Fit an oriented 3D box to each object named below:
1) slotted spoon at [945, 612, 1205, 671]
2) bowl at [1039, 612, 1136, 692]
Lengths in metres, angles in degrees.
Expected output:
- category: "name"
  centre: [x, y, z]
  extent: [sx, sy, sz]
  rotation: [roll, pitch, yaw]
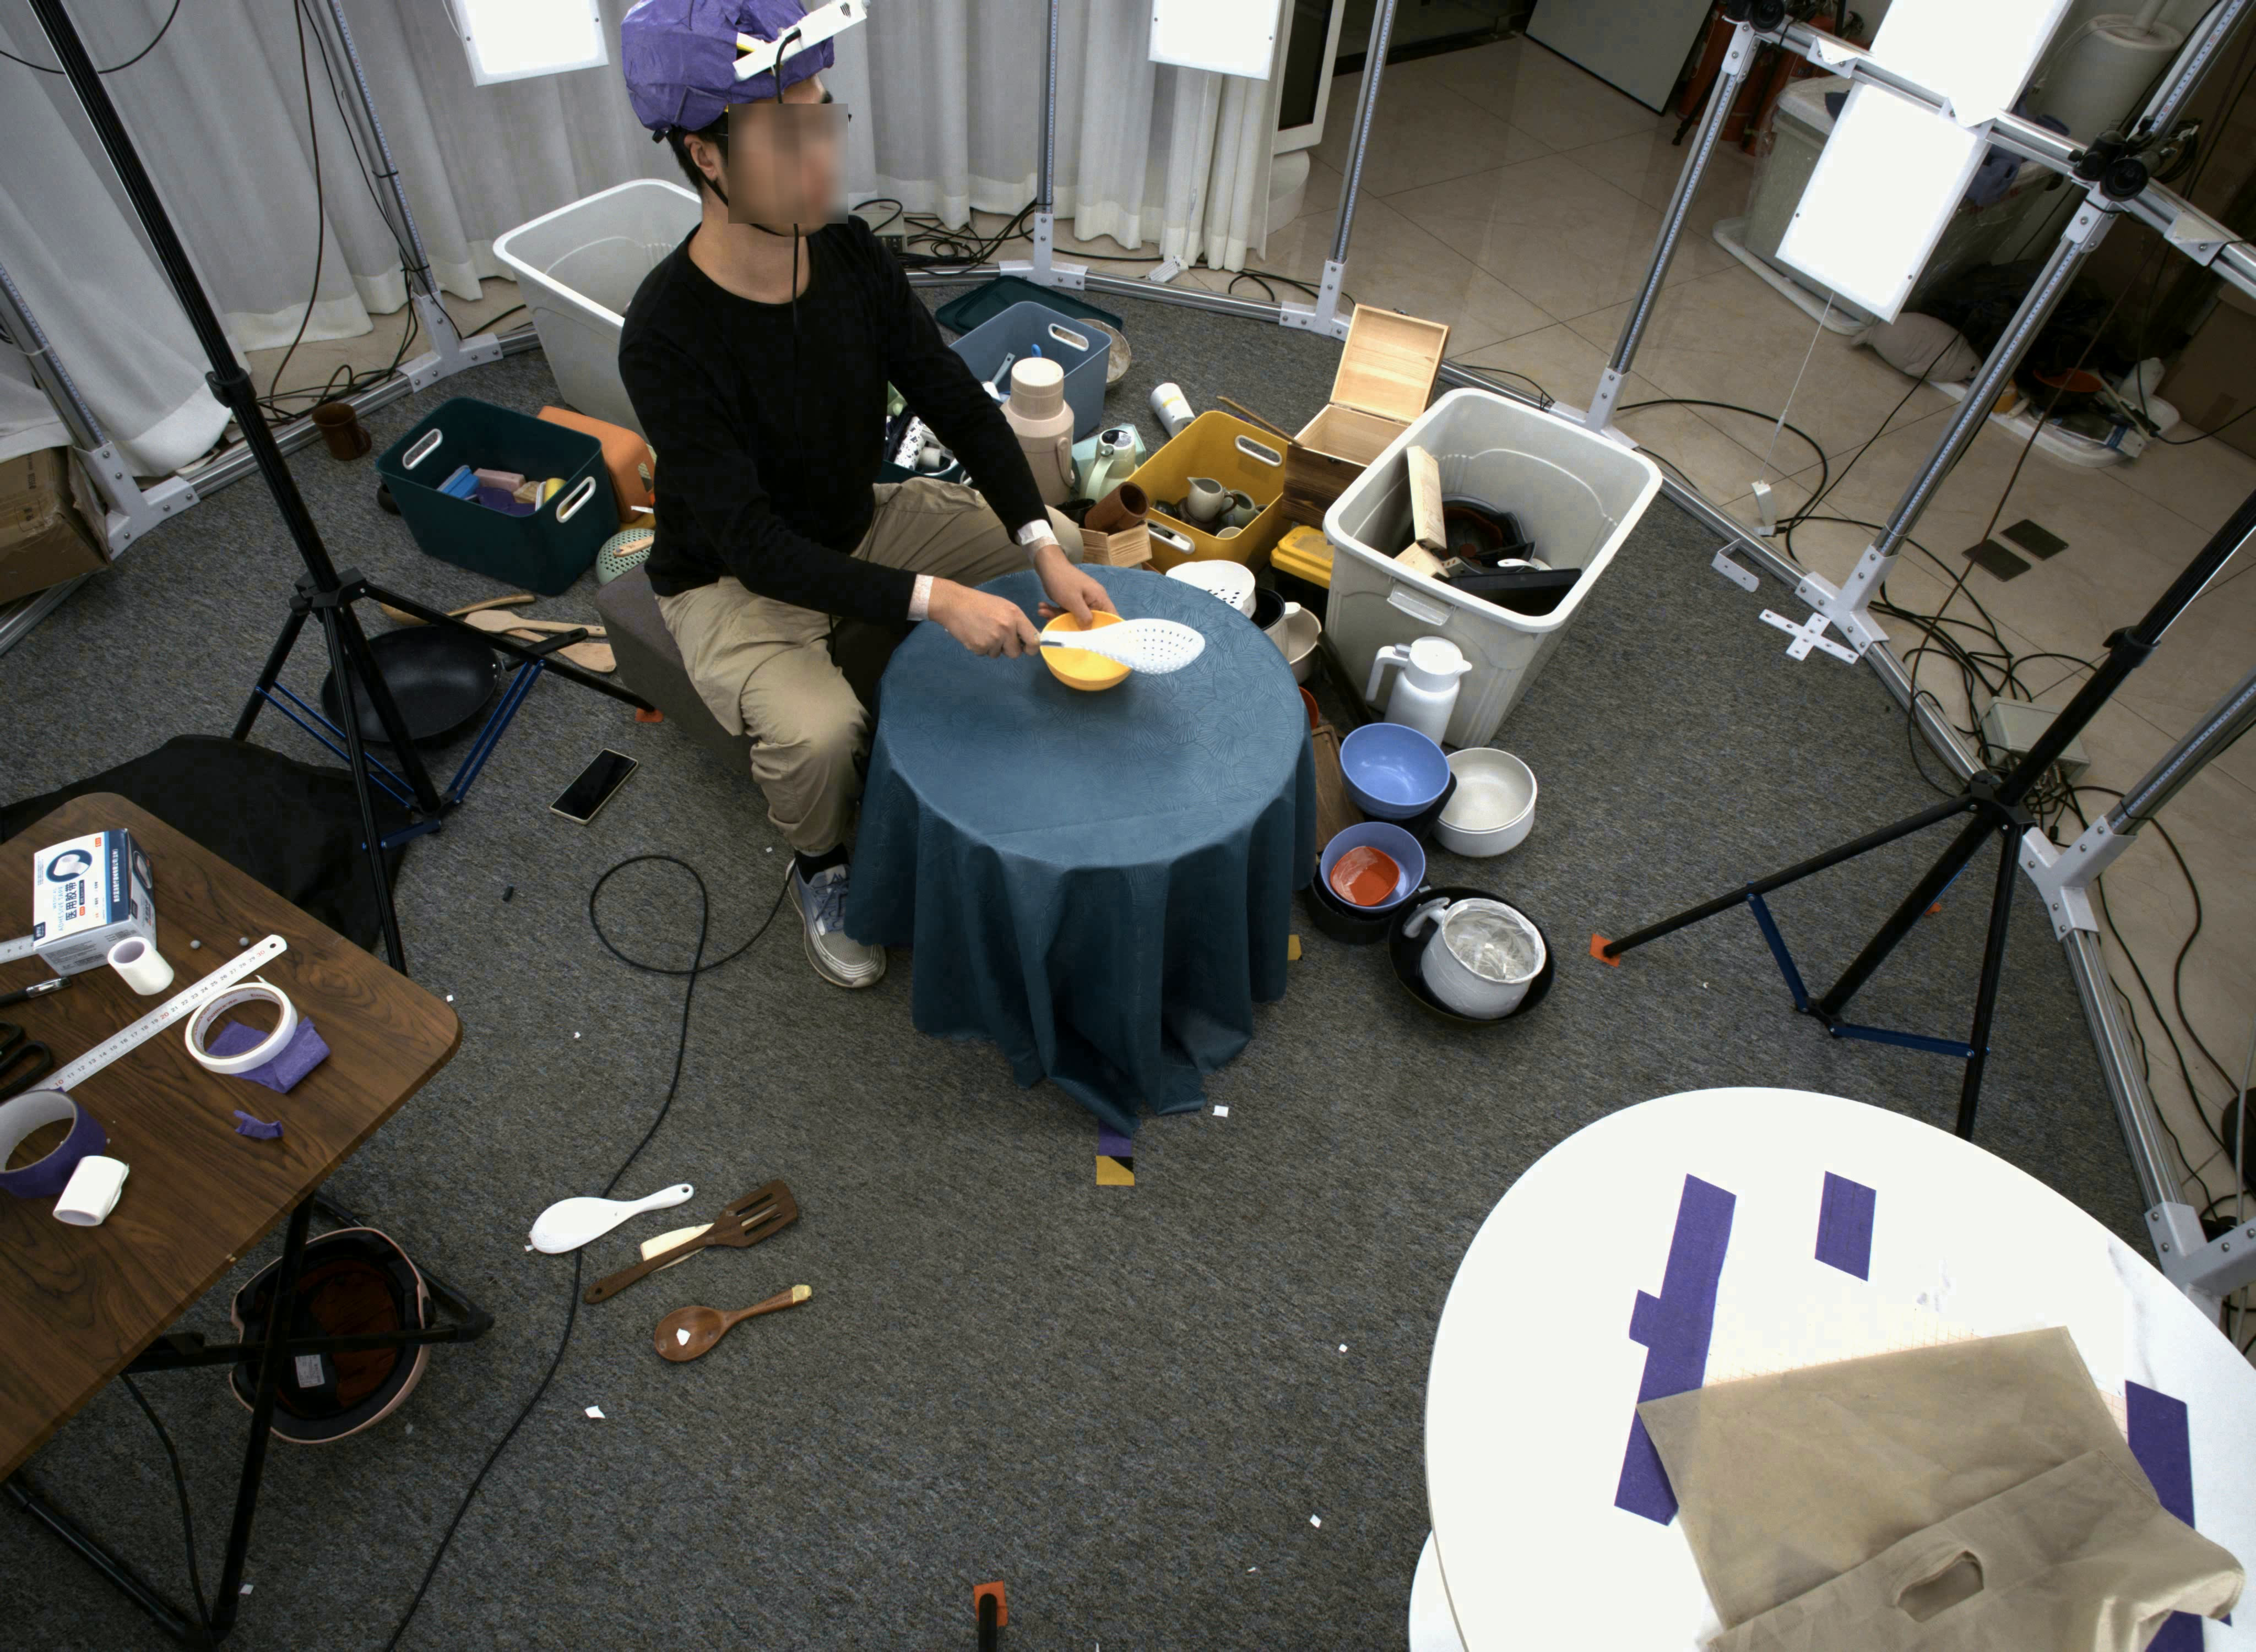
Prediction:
- category: "slotted spoon"
  centre: [-0.072, -0.254, 1.736]
  extent: [0.350, 0.133, 0.046]
  rotation: [8, 69, 4]
- category: "bowl"
  centre: [-0.057, -0.238, 1.838]
  extent: [0.145, 0.058, 0.149]
  rotation: [3, 47, -4]
